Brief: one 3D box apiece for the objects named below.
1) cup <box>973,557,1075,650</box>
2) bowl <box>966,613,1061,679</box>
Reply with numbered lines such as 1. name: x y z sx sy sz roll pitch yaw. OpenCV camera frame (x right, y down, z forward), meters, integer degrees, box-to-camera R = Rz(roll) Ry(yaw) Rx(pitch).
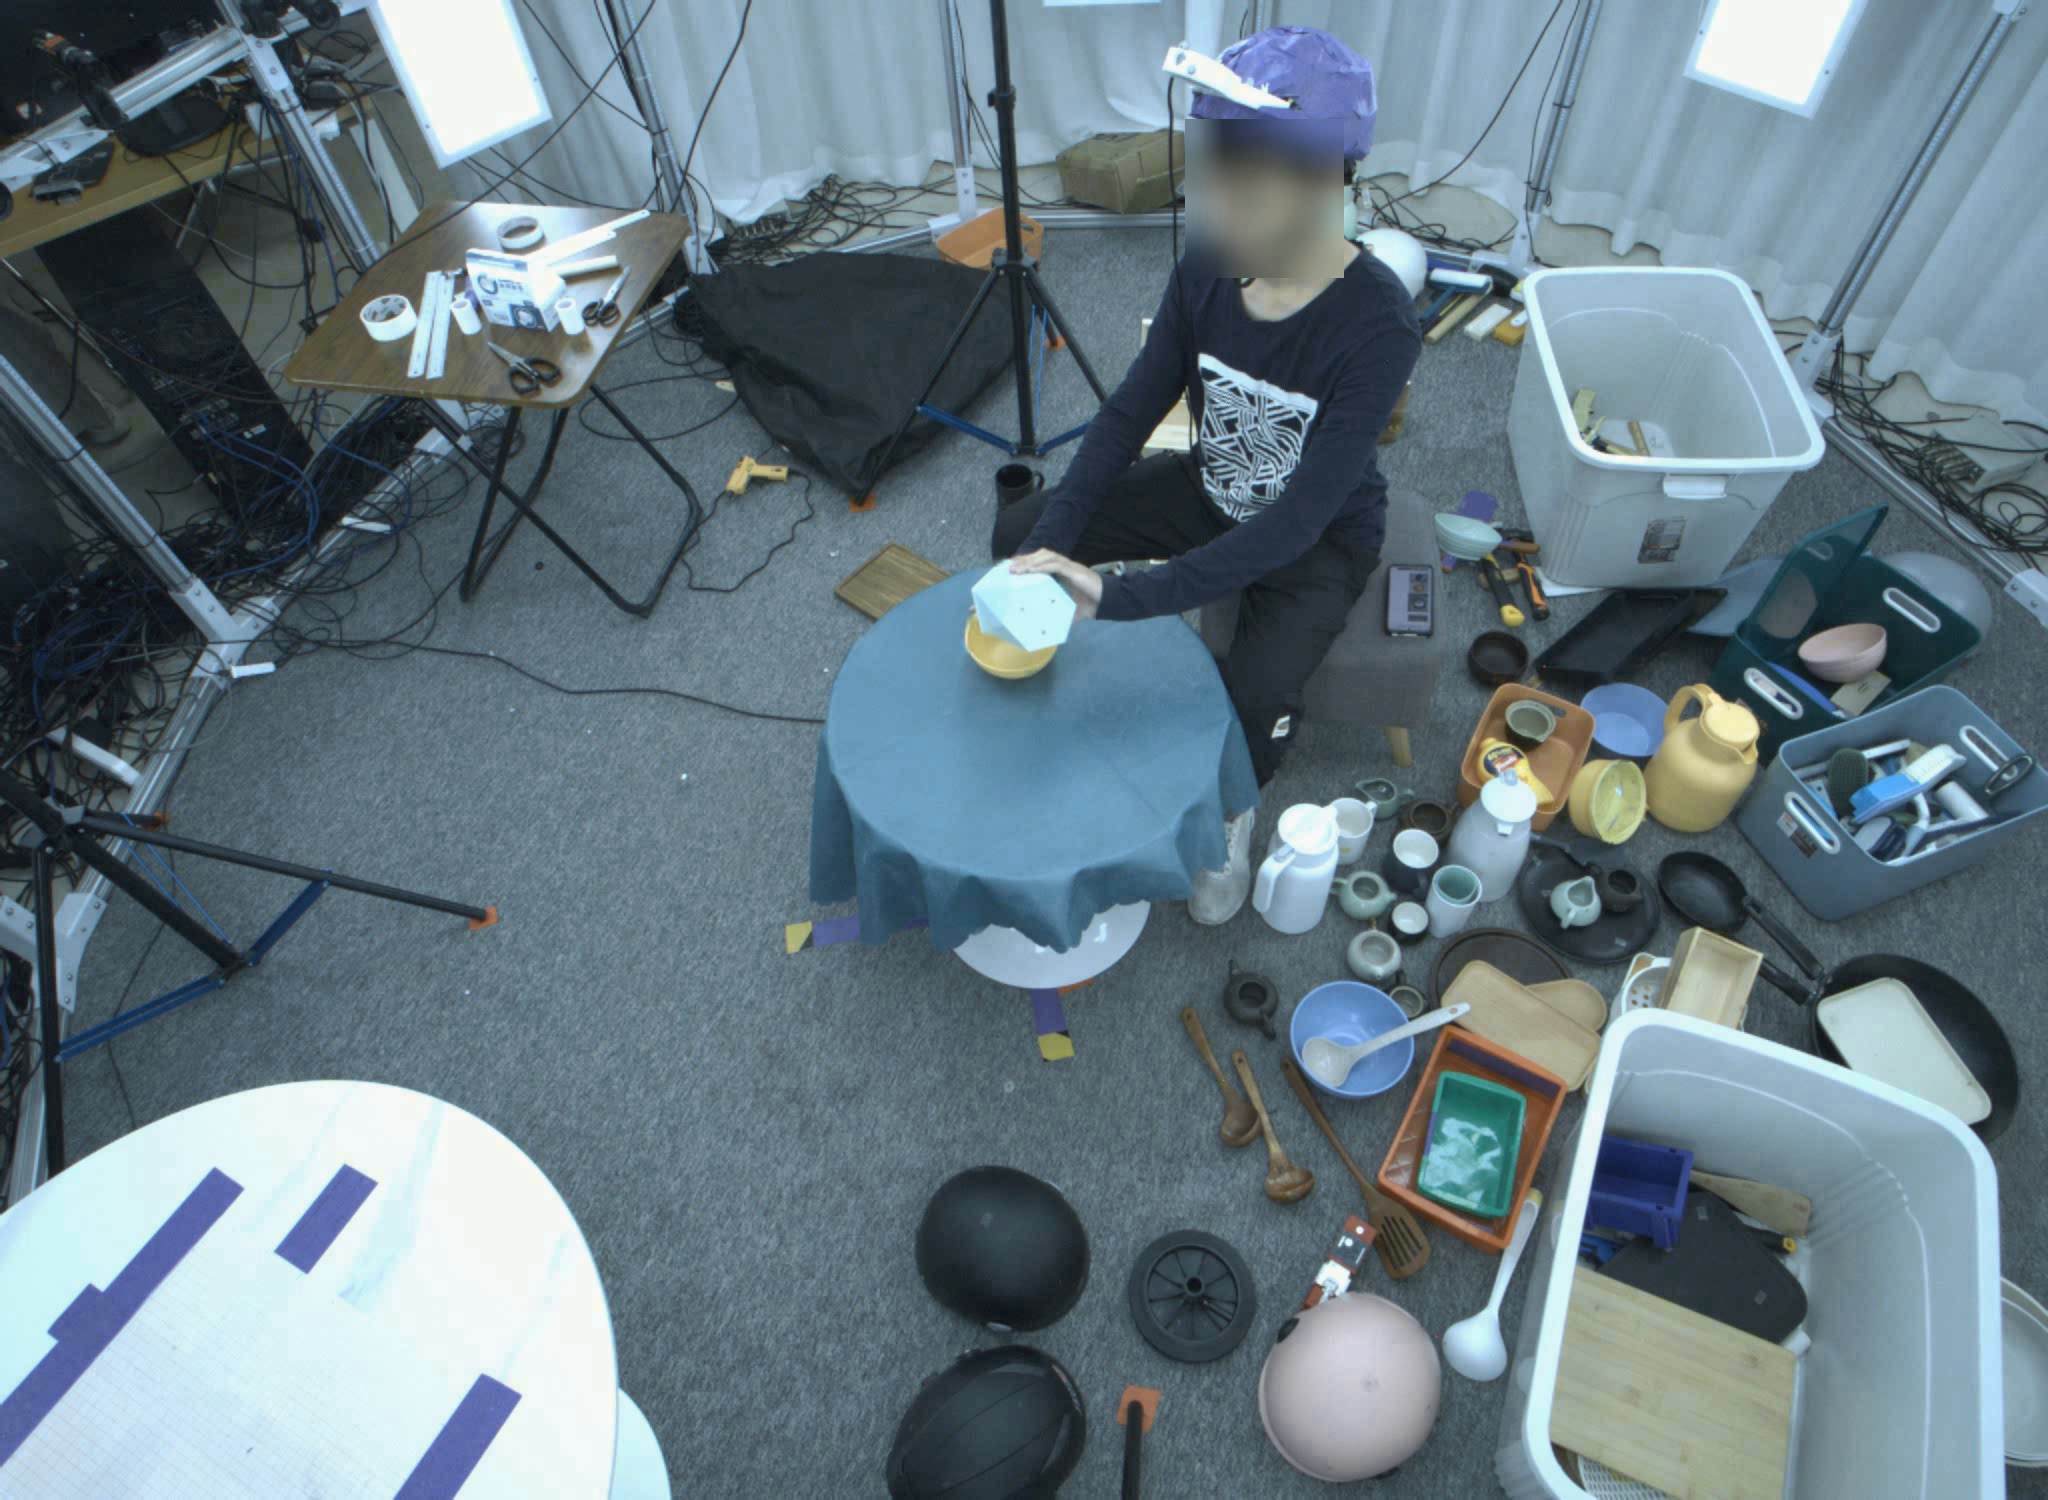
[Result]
1. cup: 0.001 -0.203 1.731 0.116 0.132 0.160 -13 16 -10
2. bowl: -0.015 -0.156 1.859 0.145 0.060 0.144 1 54 0
